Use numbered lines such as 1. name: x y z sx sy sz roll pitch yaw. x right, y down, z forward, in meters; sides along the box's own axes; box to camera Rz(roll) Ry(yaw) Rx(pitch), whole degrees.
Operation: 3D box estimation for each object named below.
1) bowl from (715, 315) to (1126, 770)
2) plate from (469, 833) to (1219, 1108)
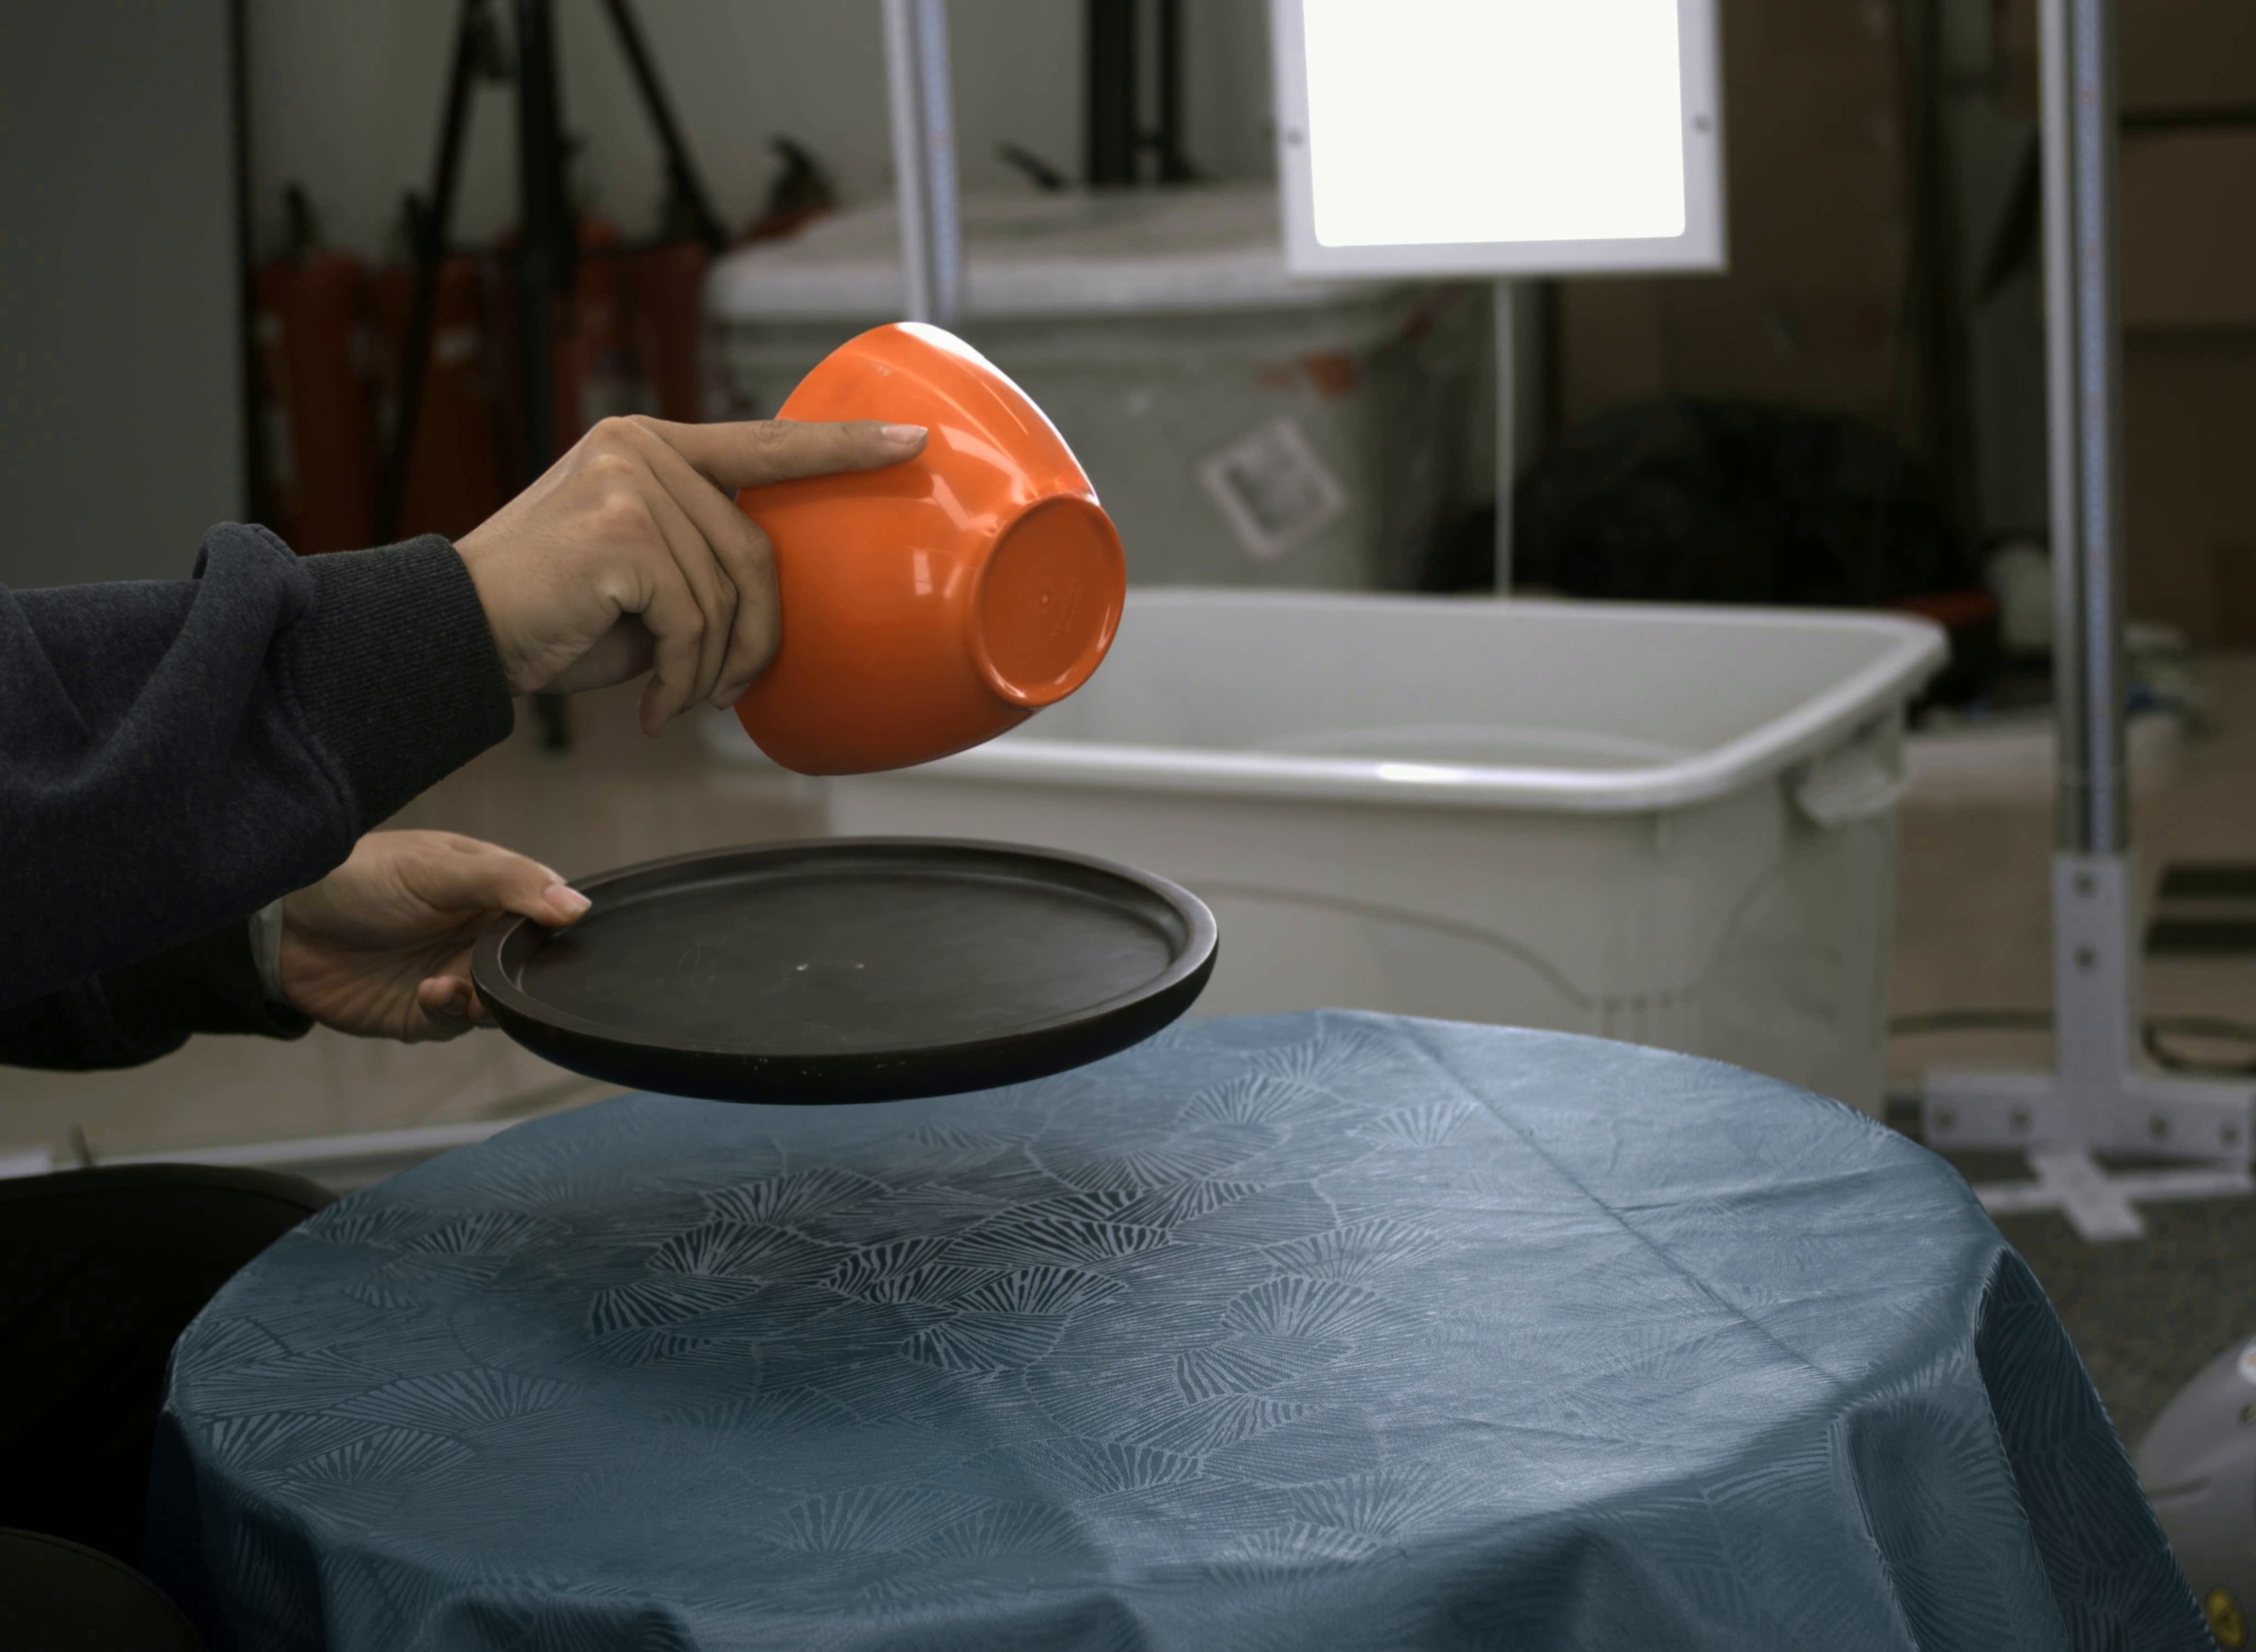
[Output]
1. bowl: -0.052 -0.079 1.705 0.144 0.149 0.107 -16 26 -41
2. plate: -0.095 0.047 1.855 0.254 0.029 0.254 -2 17 -1
